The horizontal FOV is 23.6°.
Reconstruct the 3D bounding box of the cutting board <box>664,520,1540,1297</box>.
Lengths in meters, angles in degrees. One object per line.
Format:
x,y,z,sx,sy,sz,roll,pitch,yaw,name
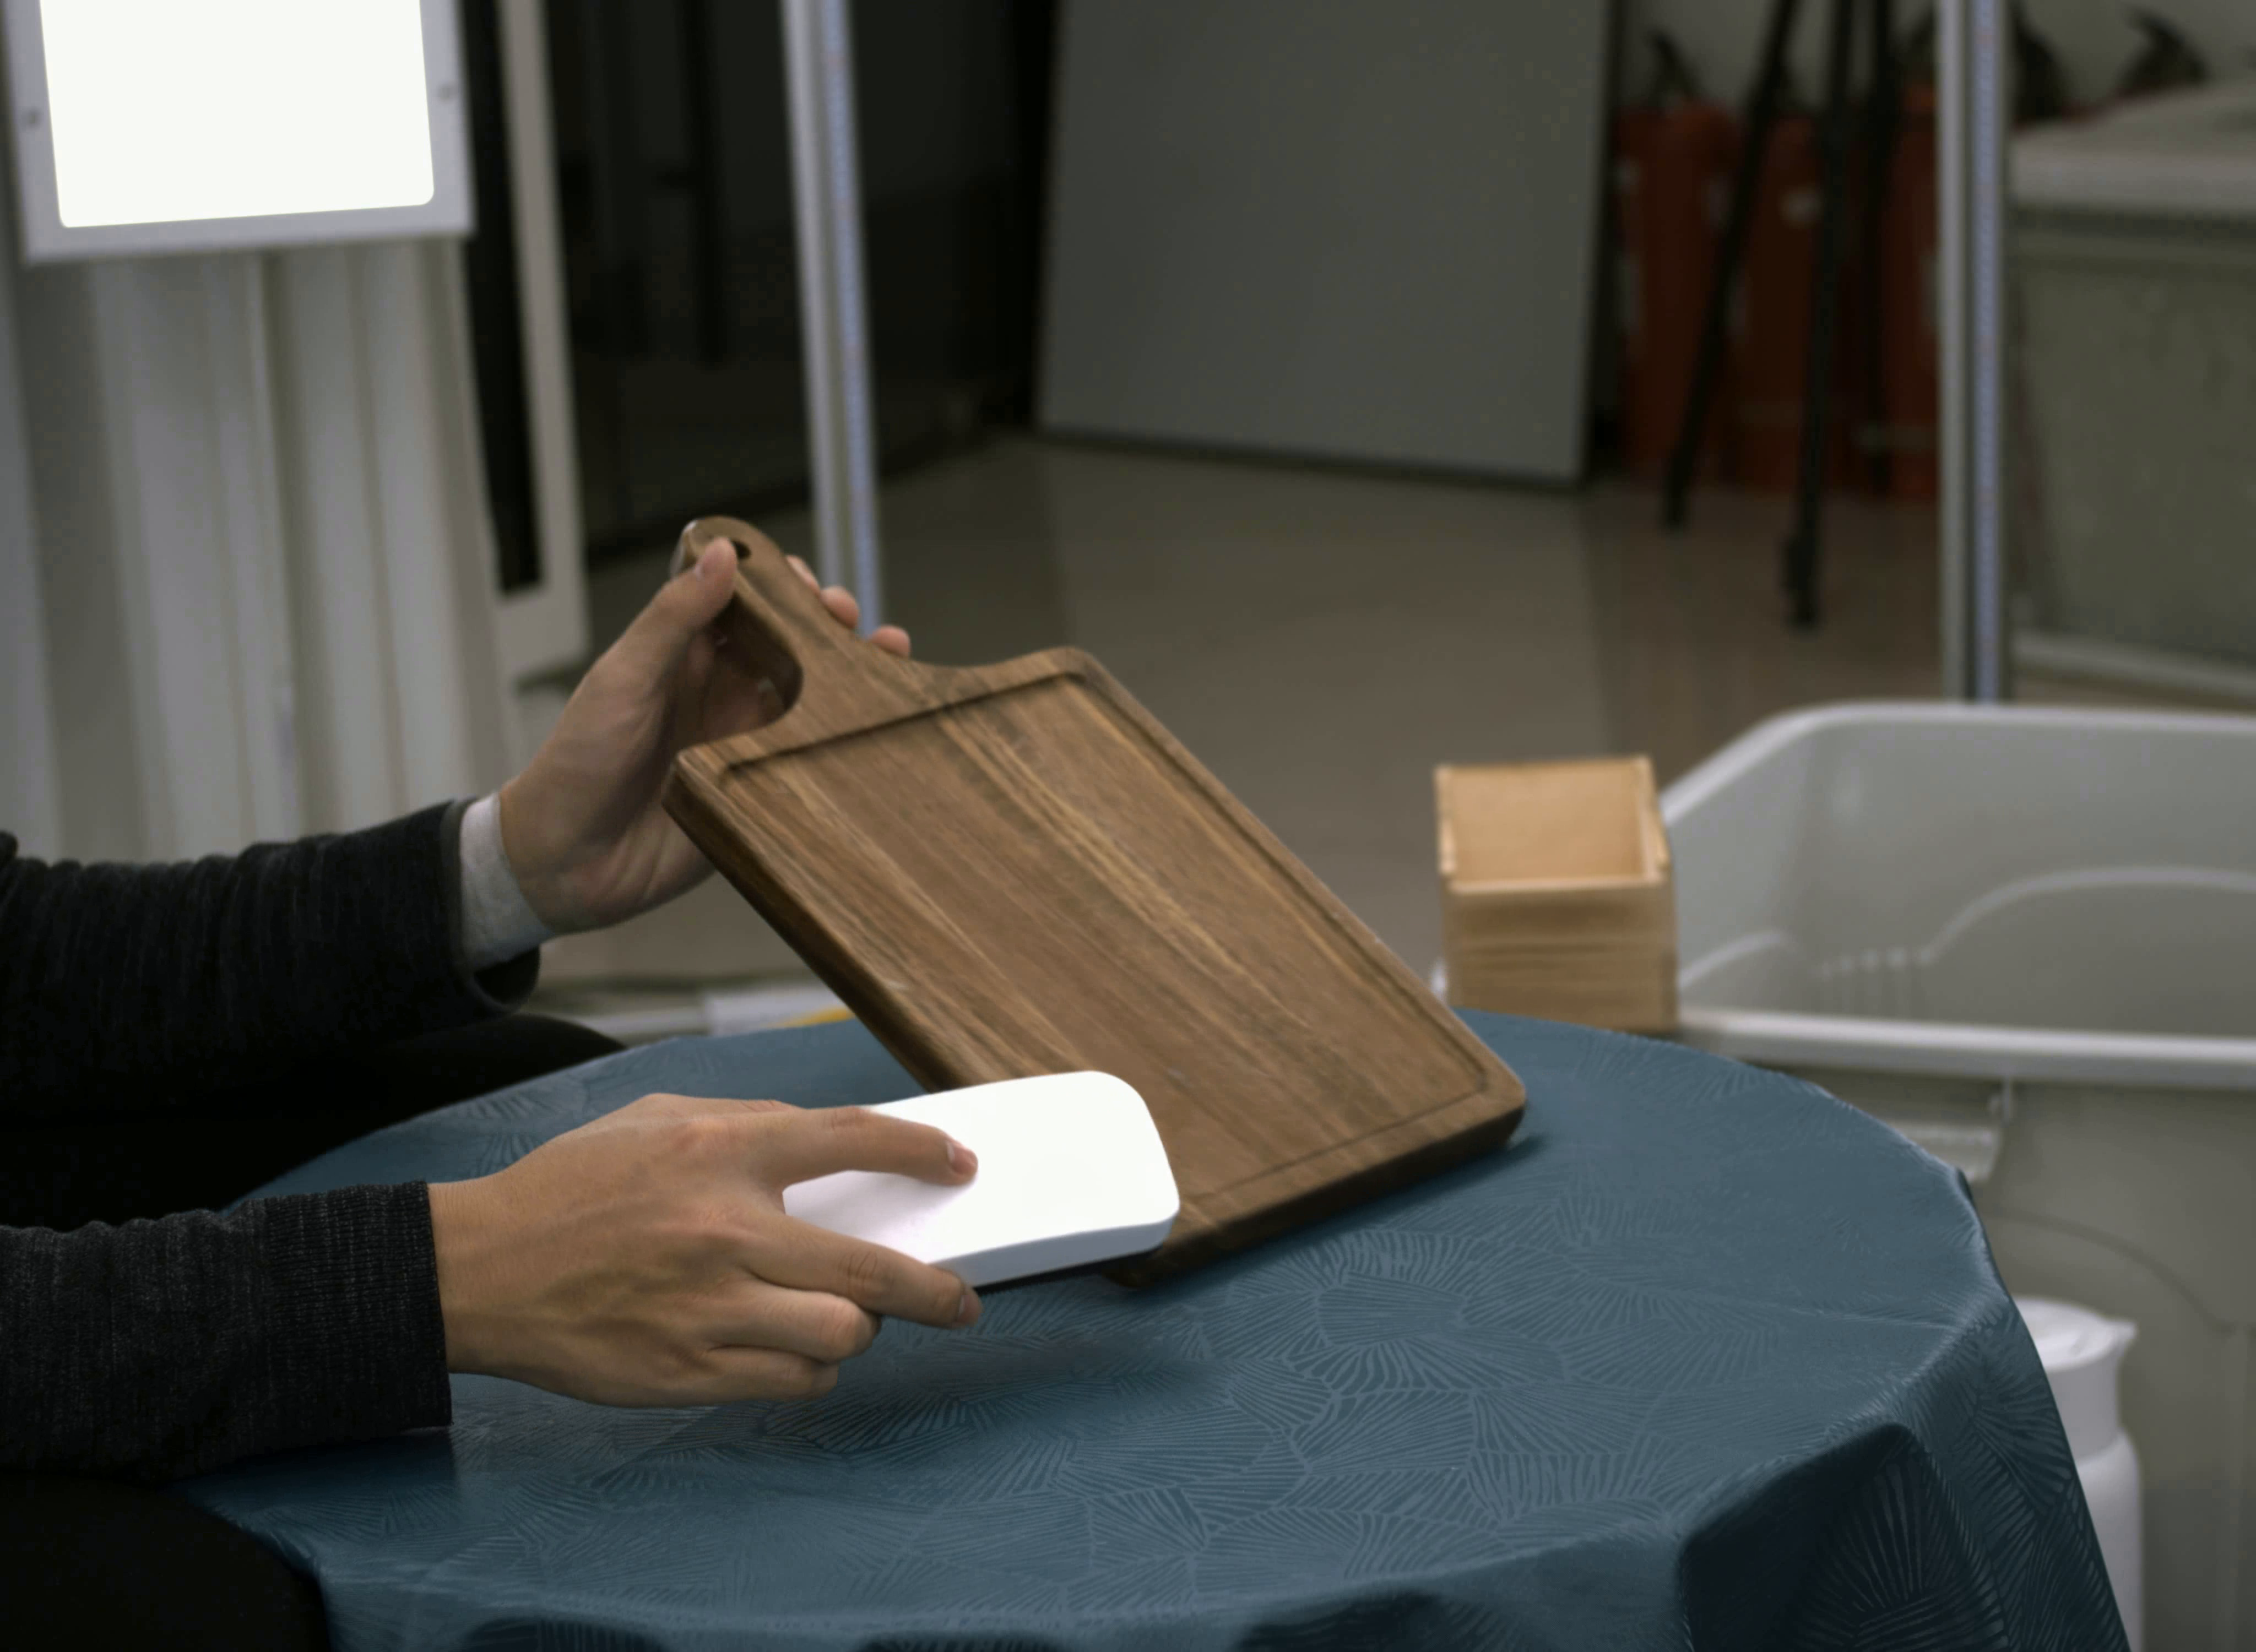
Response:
-0.039,0.010,1.807,0.197,0.023,0.355,-17,51,-43,cutting board

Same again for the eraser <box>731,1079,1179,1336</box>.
-0.052,0.111,1.603,0.128,0.035,0.064,-9,49,-17,eraser
